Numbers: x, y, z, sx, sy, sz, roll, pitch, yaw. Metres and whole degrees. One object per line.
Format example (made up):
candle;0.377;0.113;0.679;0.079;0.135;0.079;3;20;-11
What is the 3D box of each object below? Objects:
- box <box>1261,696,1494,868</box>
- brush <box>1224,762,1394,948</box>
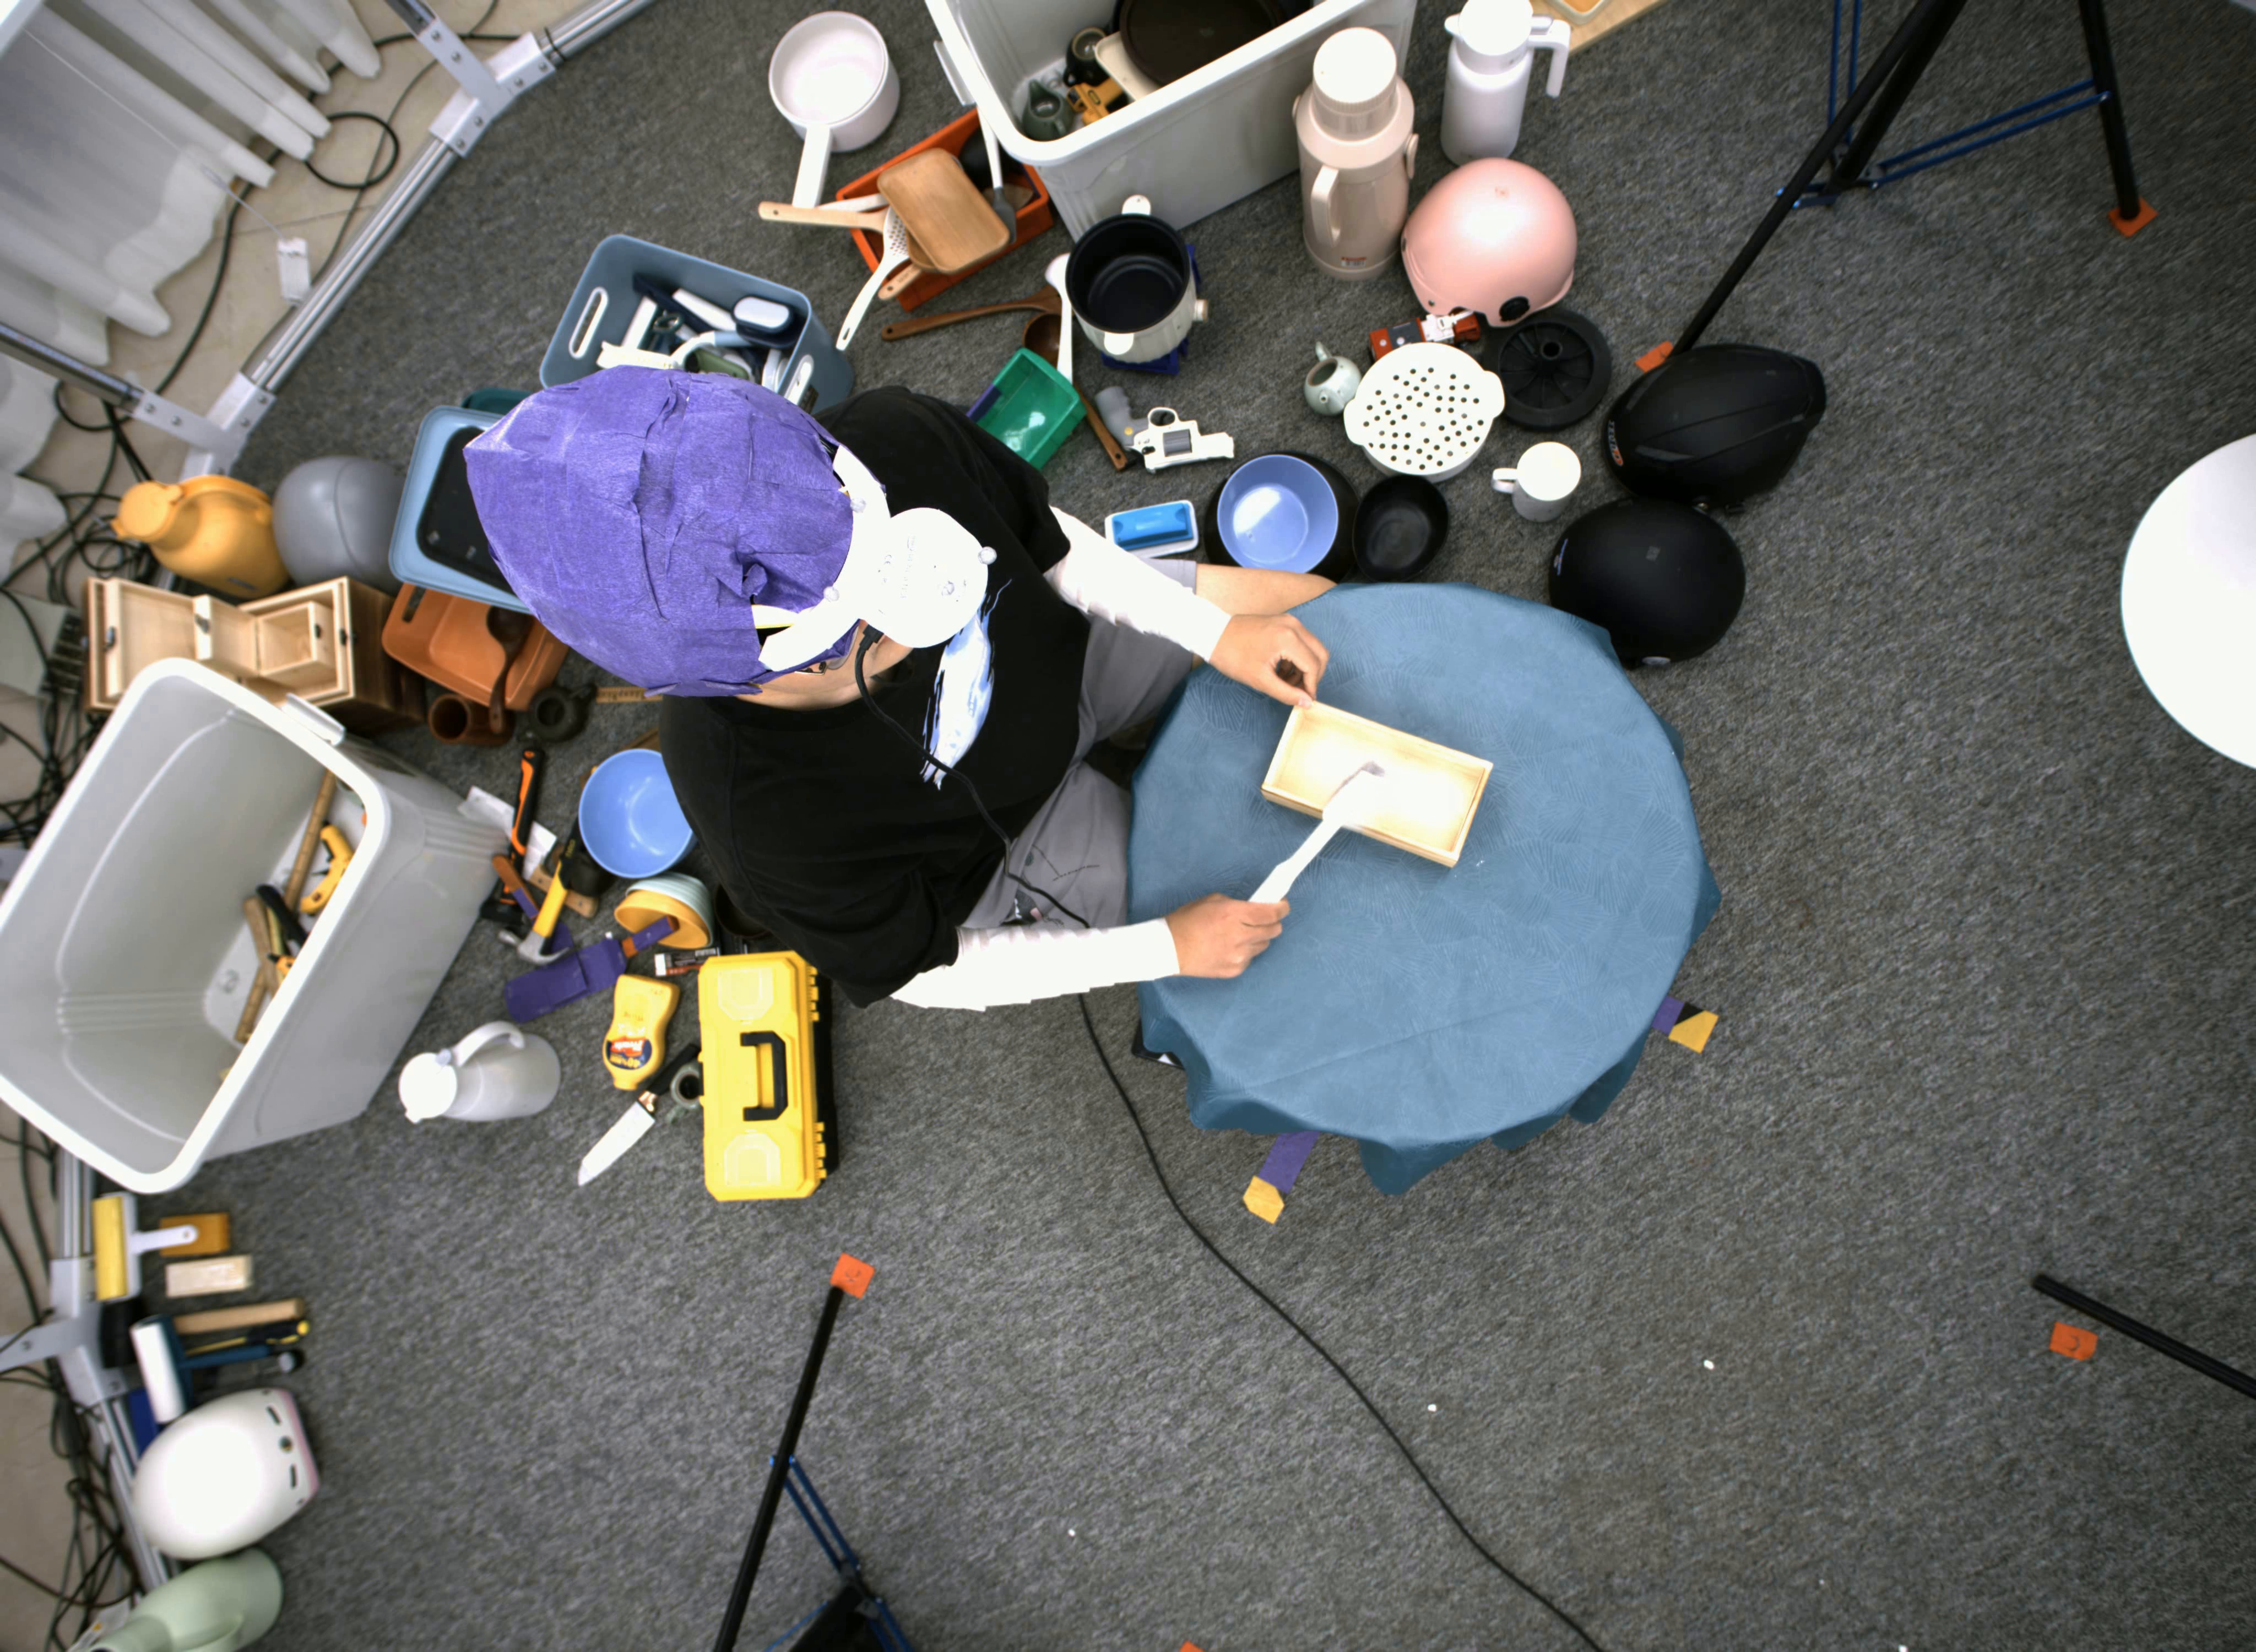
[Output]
box;0.258;-0.046;1.427;0.211;0.080;0.107;20;90;12
brush;0.179;0.030;1.400;0.034;0.049;0.248;36;116;-8
